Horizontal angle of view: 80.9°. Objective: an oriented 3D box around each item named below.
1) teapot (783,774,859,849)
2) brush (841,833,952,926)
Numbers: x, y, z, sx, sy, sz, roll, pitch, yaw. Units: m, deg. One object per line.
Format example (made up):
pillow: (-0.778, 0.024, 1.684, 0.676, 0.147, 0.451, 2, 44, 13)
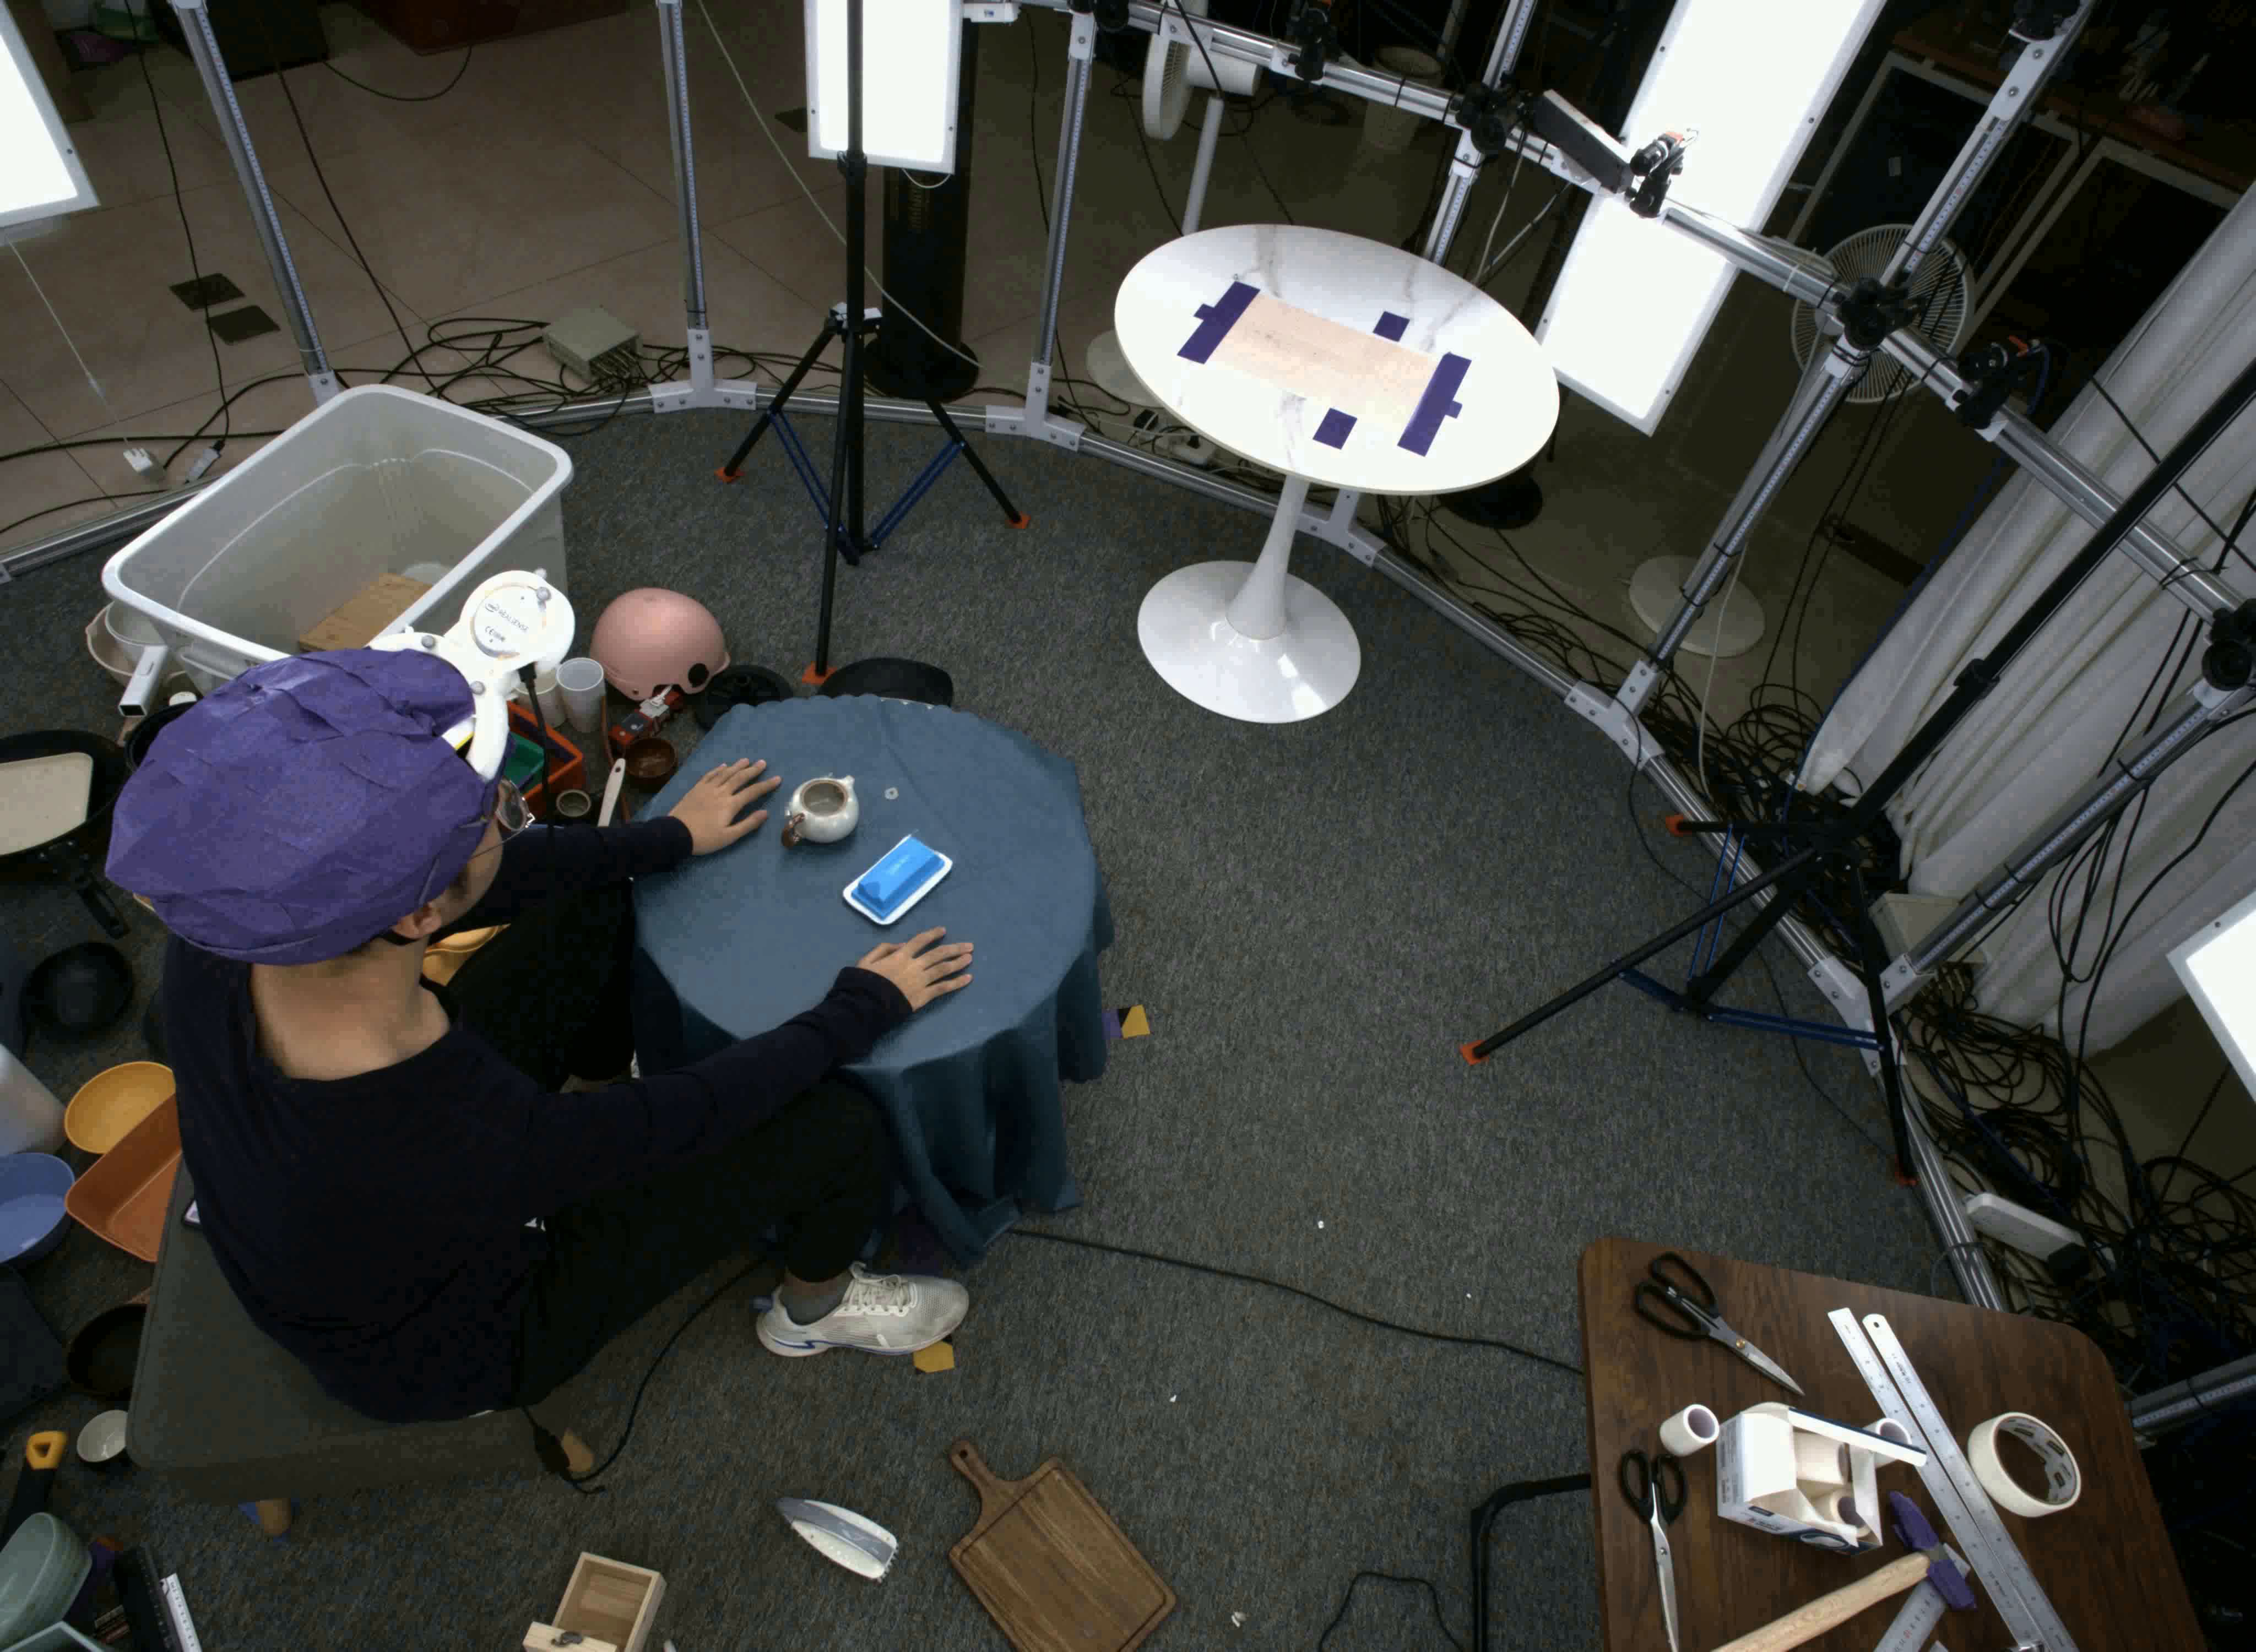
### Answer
teapot: (-0.406, -0.016, 1.704, 0.090, 0.060, 0.128, 35, 53, 11)
brush: (-0.298, 0.060, 1.673, 0.082, 0.057, 0.144, 35, 51, 18)
